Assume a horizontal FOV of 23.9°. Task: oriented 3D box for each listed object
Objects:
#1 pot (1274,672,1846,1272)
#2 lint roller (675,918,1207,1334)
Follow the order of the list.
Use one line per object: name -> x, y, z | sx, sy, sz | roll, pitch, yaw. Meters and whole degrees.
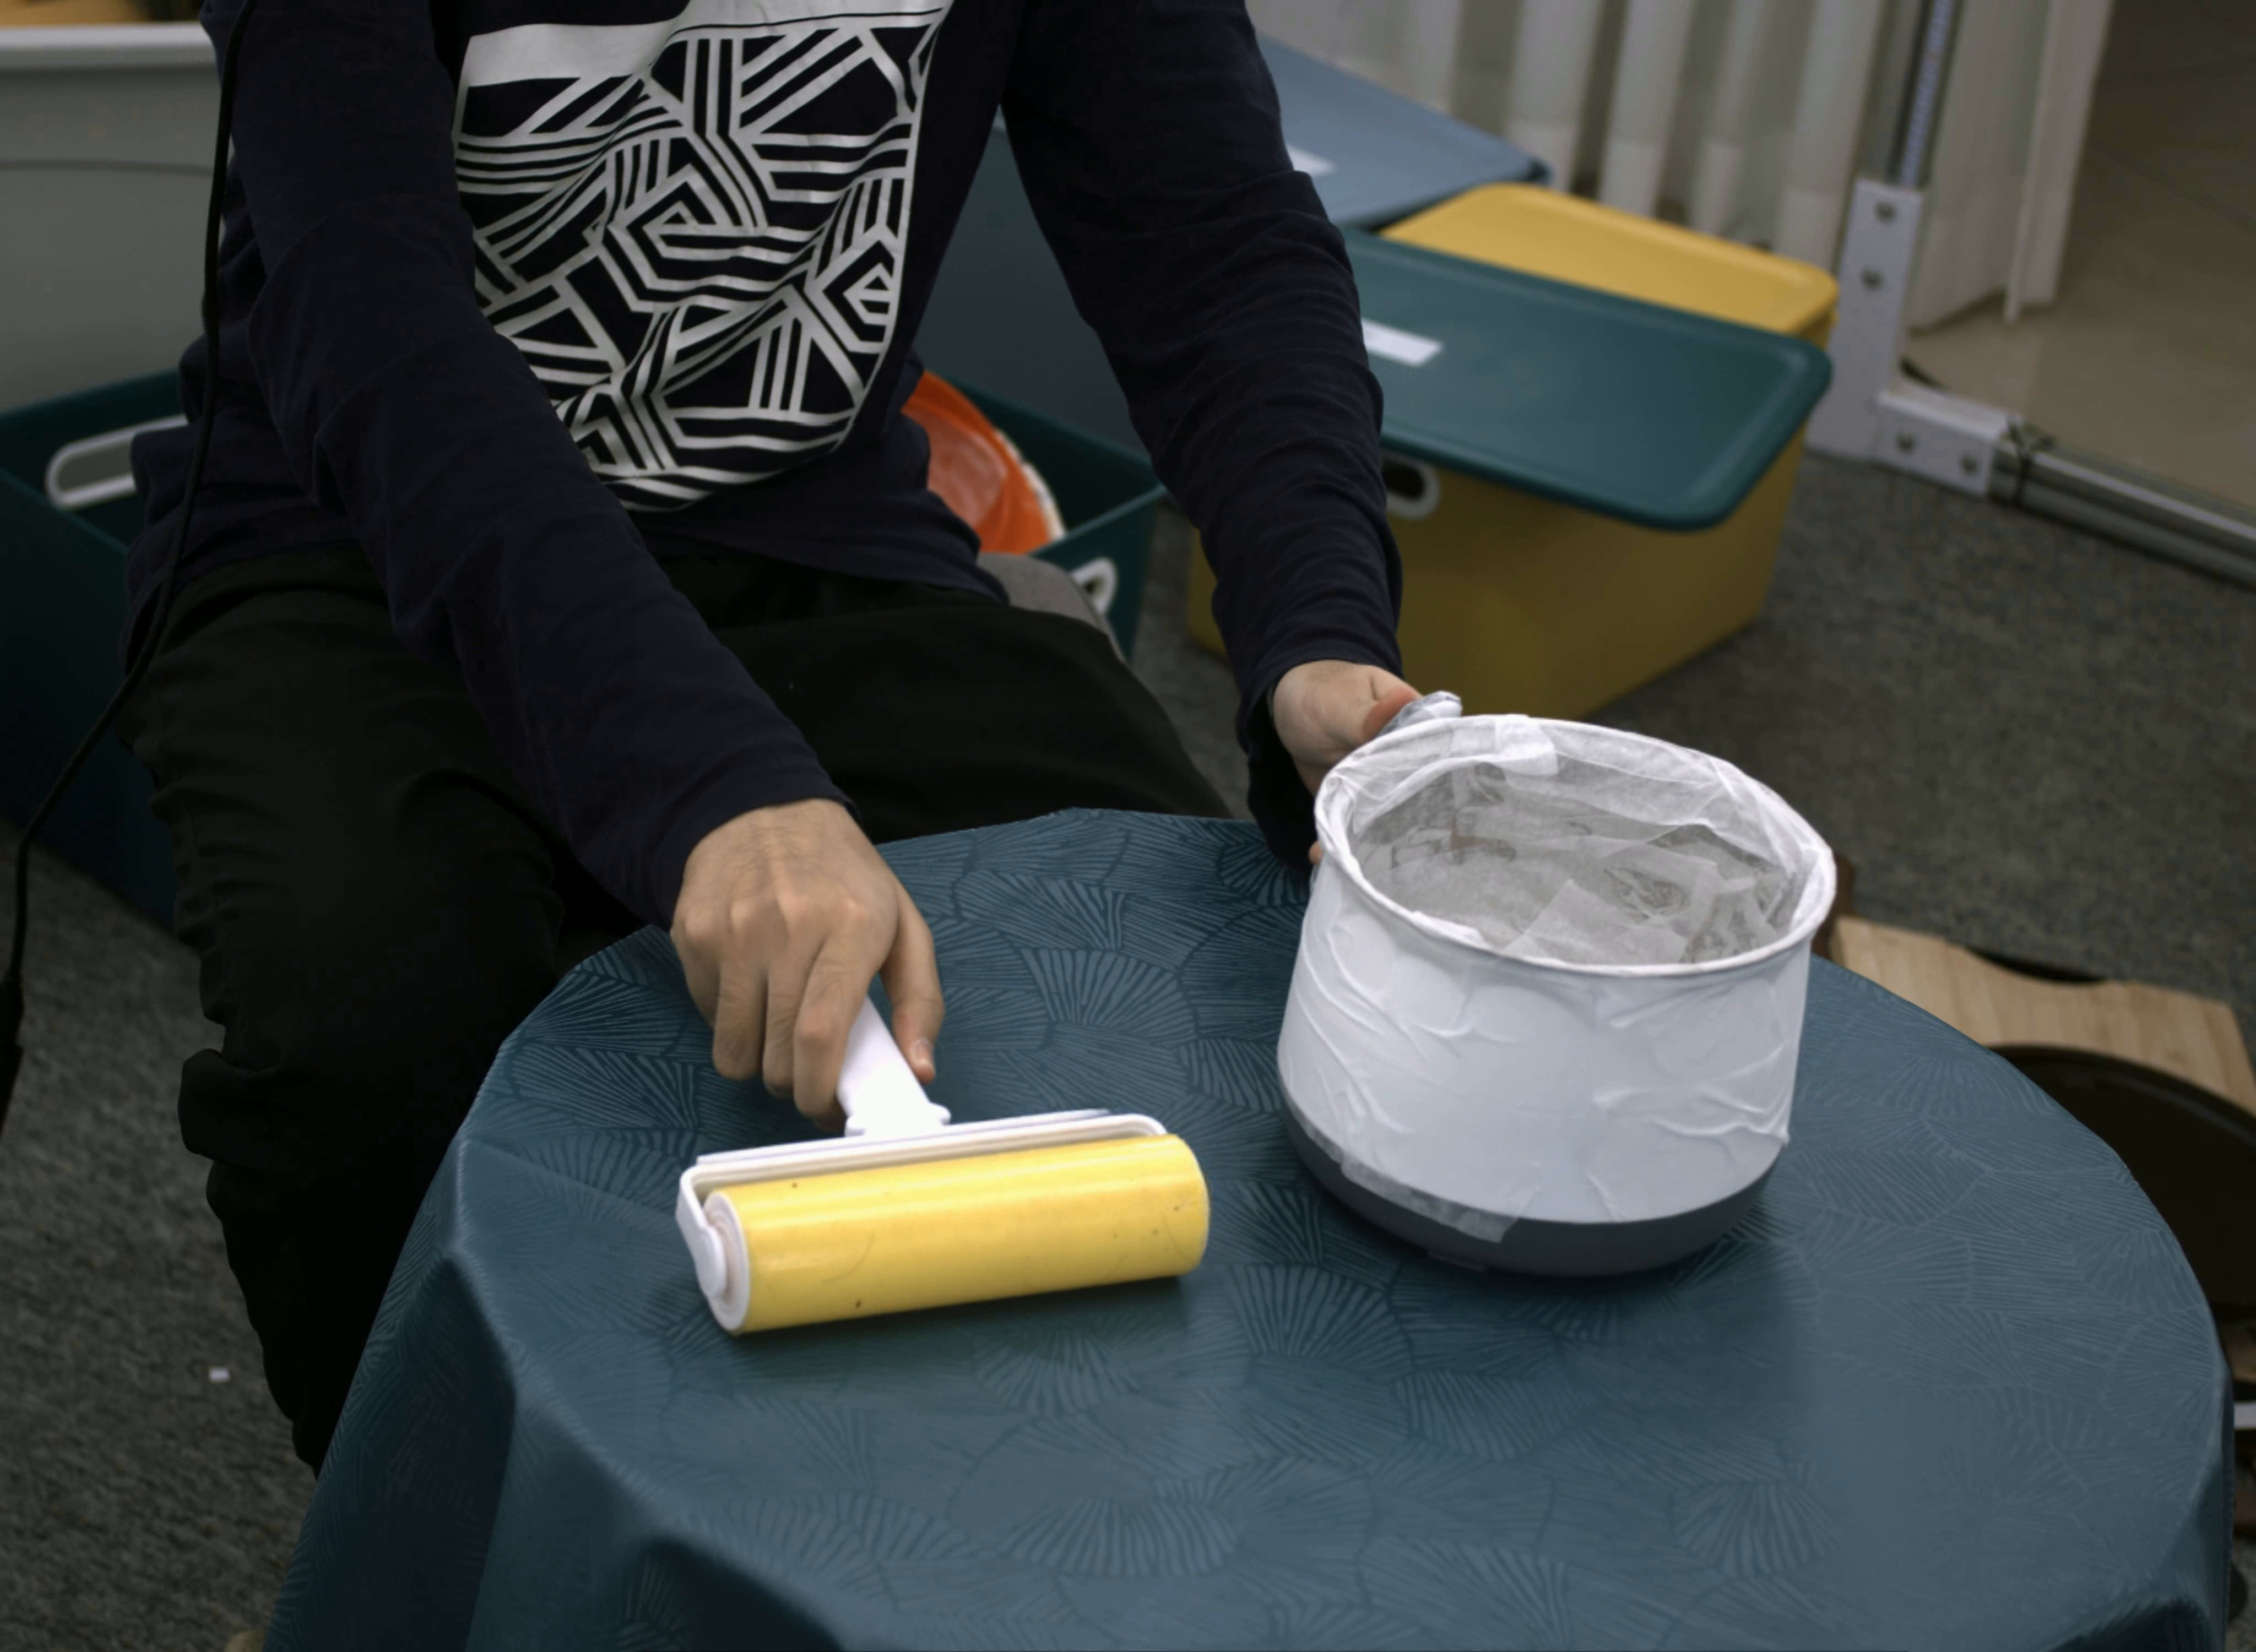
pot -> 0.131, 0.042, 1.830 | 0.177, 0.136, 0.236 | -5, 33, -26
lint roller -> -0.084, 0.085, 1.770 | 0.173, 0.051, 0.194 | -6, 45, -24
